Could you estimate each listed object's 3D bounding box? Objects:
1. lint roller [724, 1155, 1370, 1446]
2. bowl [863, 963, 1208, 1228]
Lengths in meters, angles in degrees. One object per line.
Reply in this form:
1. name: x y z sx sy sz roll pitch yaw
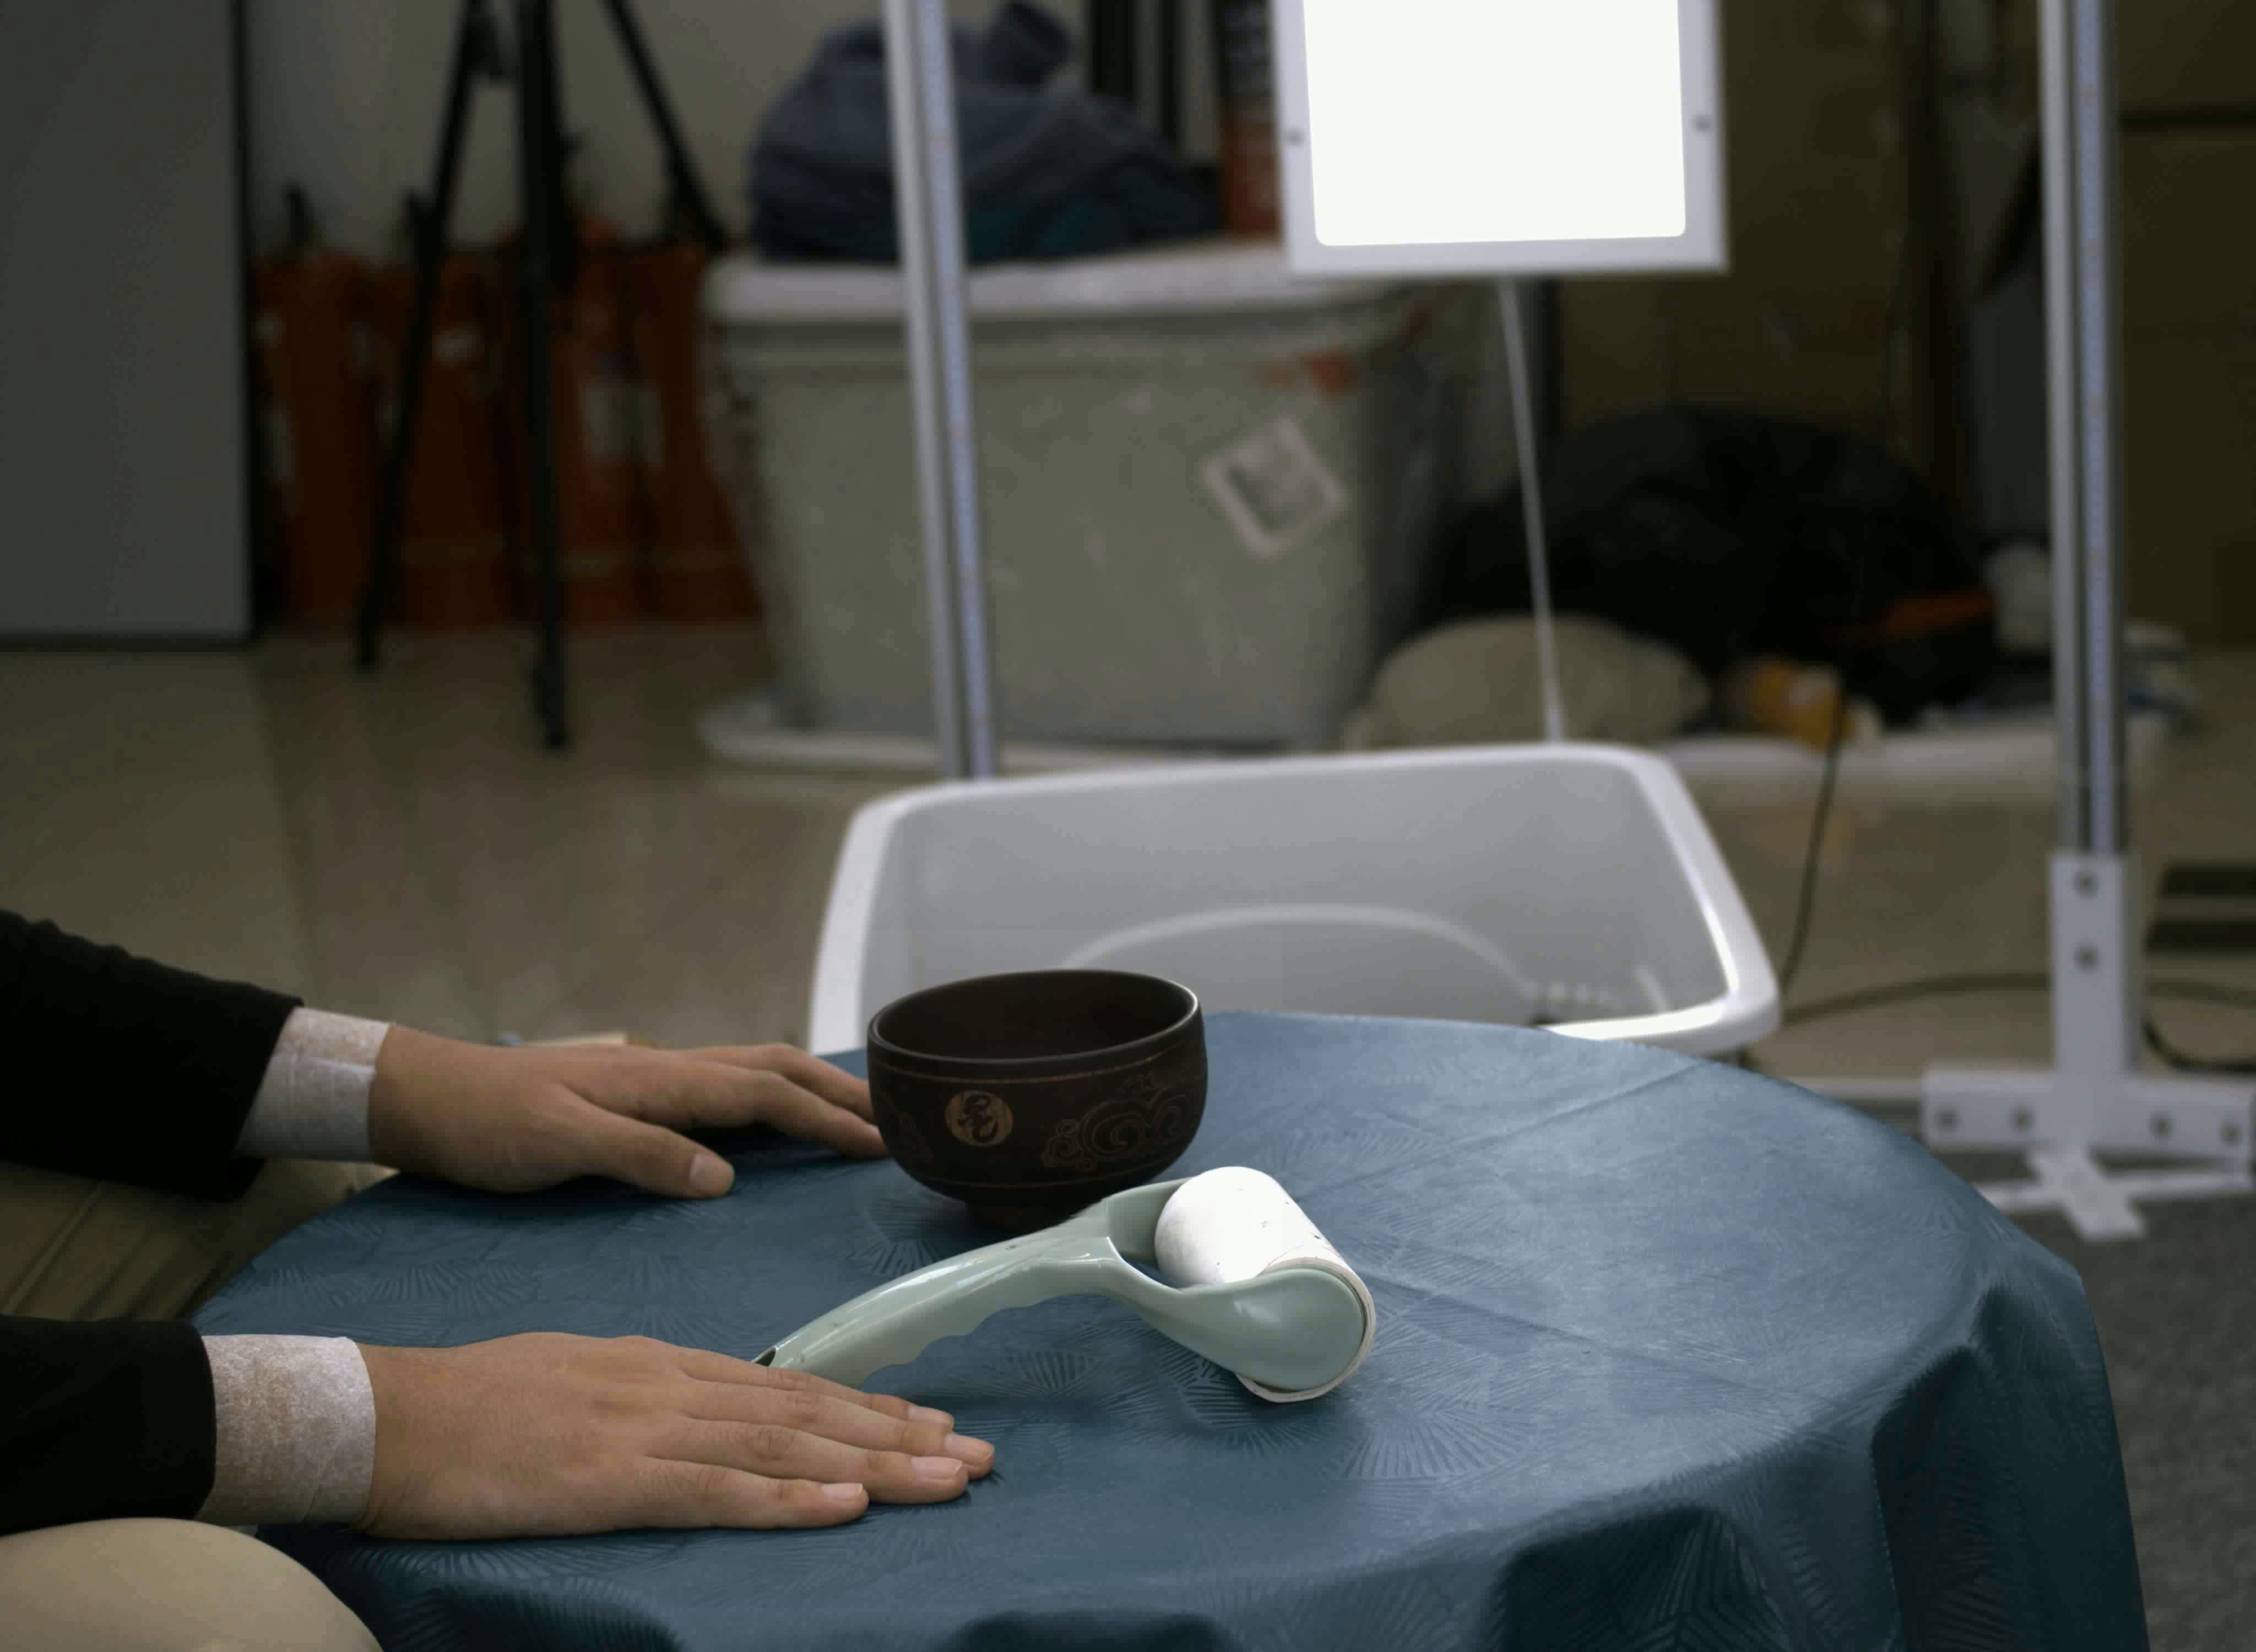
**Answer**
1. lint roller: -0.031 0.151 1.716 0.195 0.048 0.117 -9 15 -9
2. bowl: -0.030 0.096 1.884 0.118 0.070 0.118 -6 15 0
